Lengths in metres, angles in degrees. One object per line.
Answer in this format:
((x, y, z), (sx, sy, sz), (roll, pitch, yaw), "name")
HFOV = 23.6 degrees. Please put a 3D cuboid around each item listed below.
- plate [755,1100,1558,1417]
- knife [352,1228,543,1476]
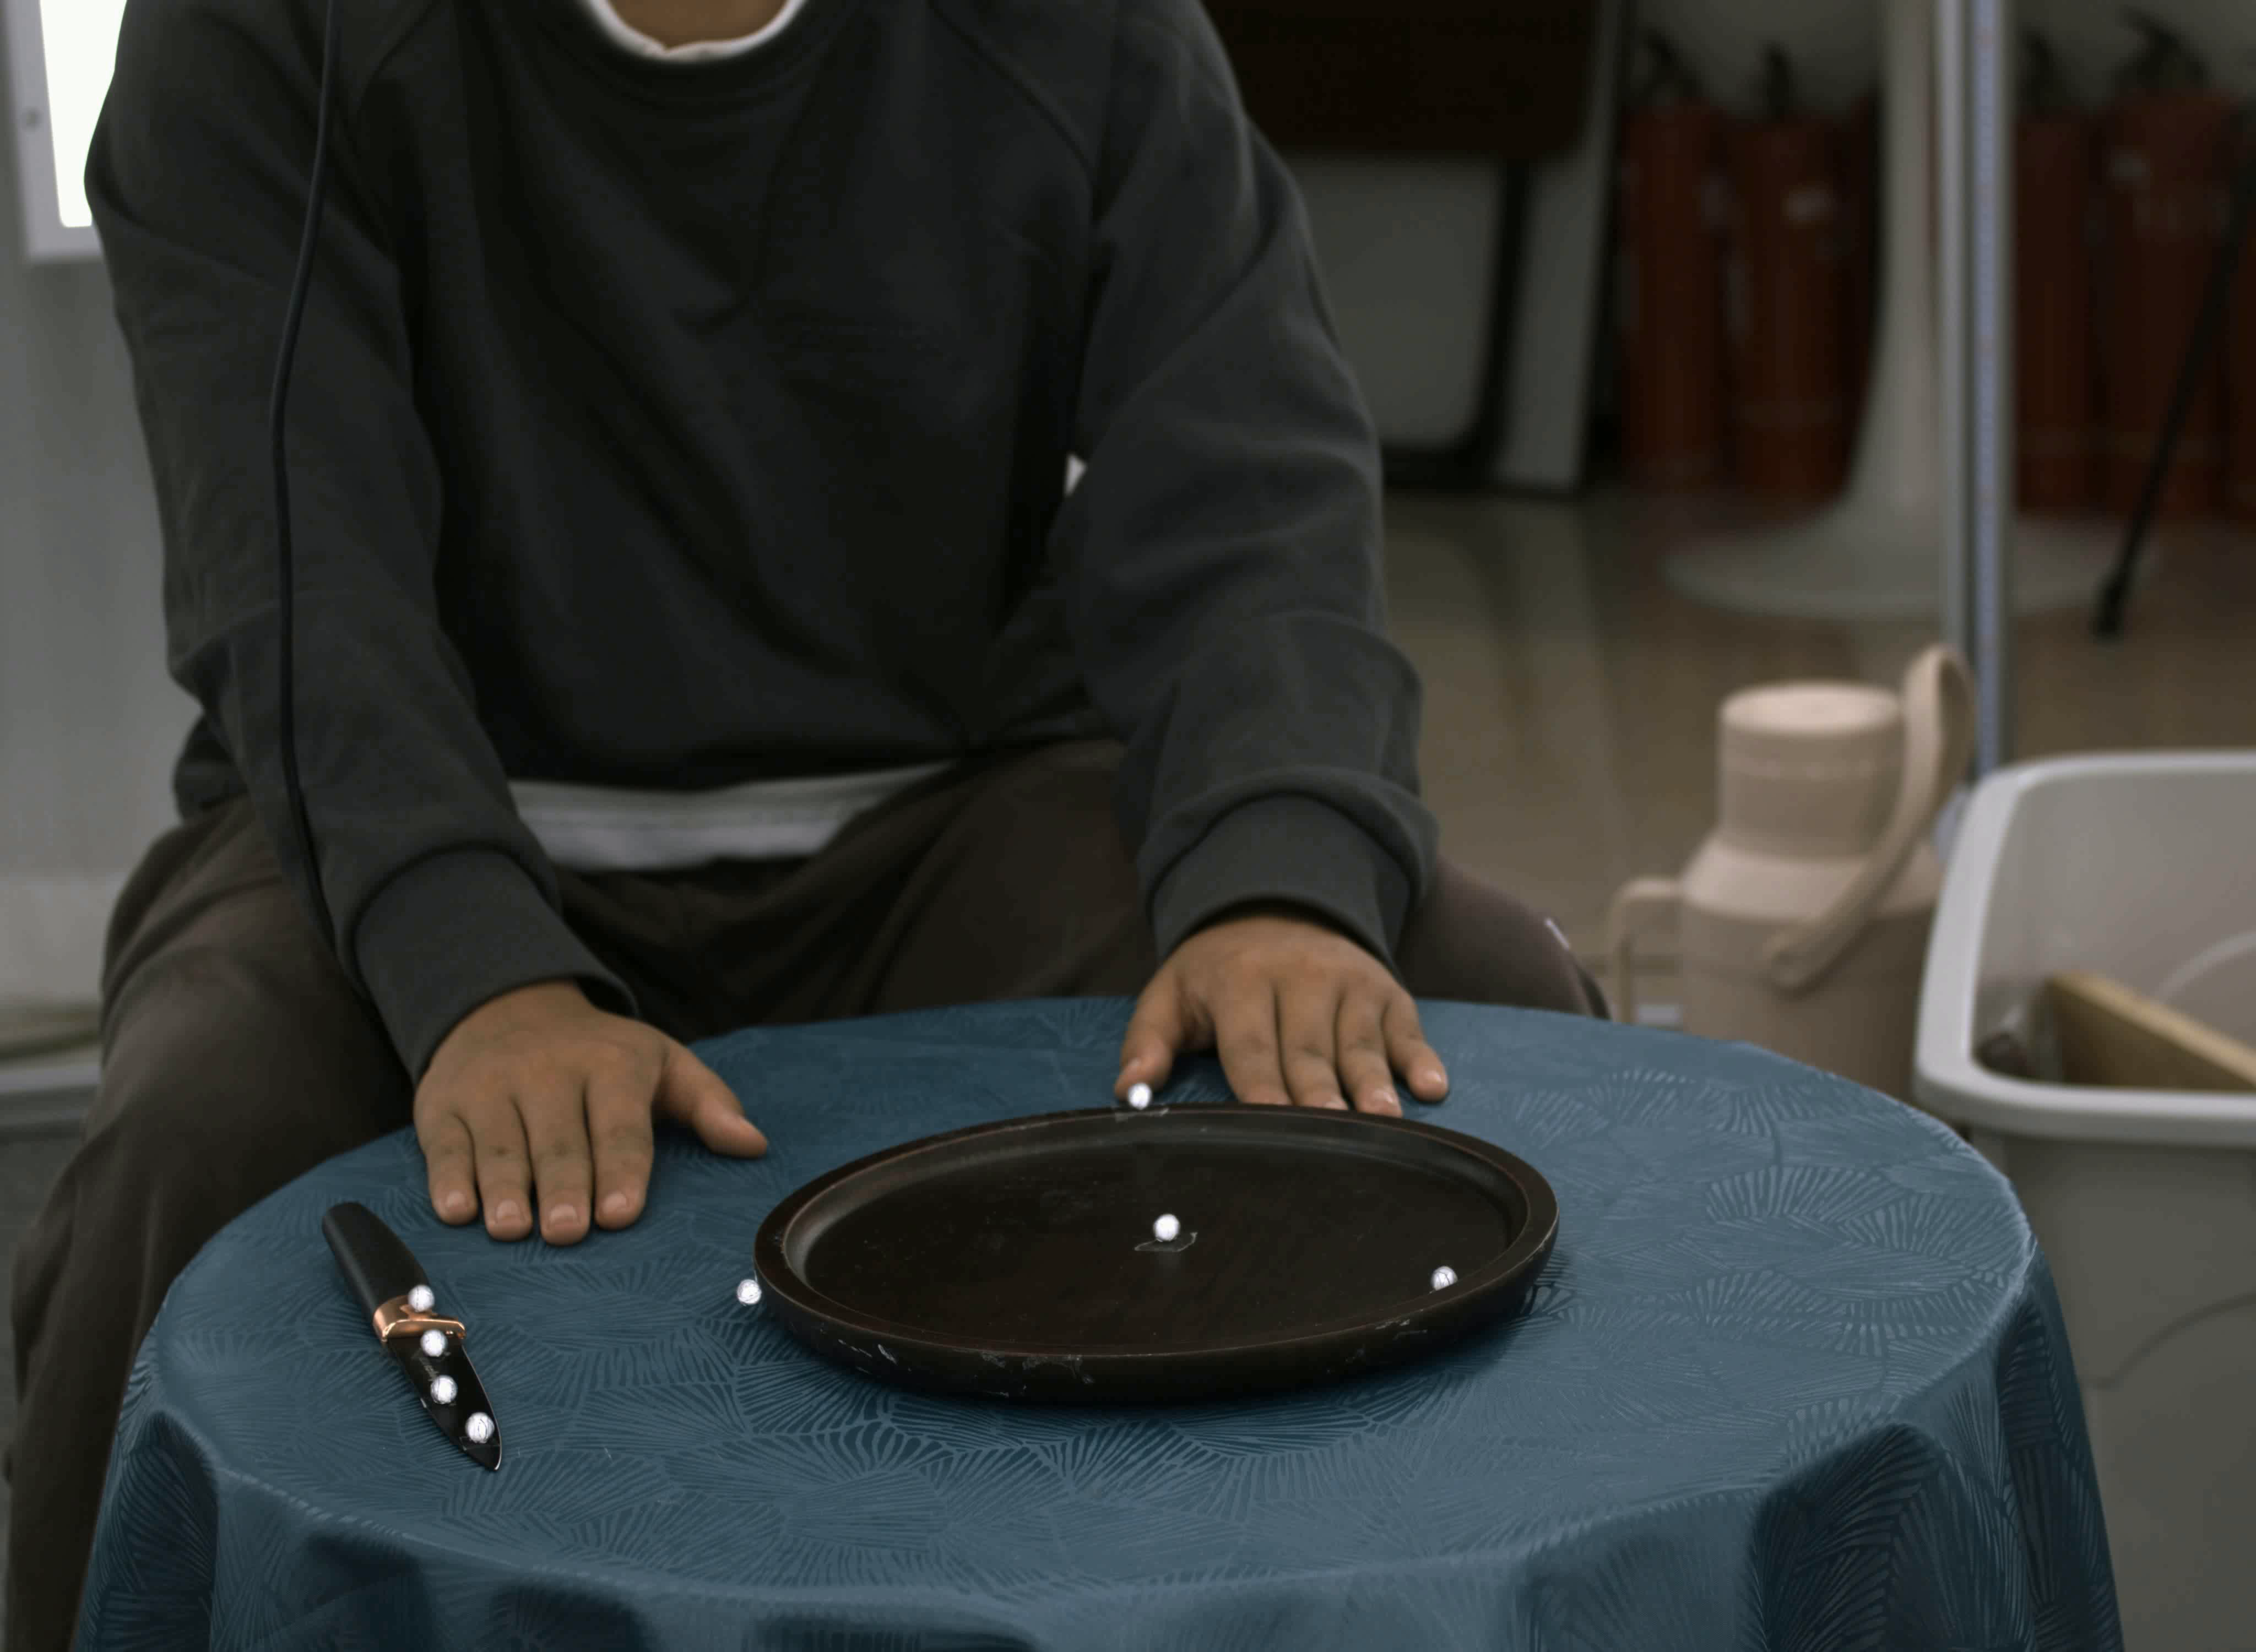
((0.009, 0.132, 1.678), (0.251, 0.029, 0.255), (-5, 13, 0), "plate")
((-0.210, 0.160, 1.654), (0.025, 0.017, 0.227), (-3, 14, -17), "knife")
